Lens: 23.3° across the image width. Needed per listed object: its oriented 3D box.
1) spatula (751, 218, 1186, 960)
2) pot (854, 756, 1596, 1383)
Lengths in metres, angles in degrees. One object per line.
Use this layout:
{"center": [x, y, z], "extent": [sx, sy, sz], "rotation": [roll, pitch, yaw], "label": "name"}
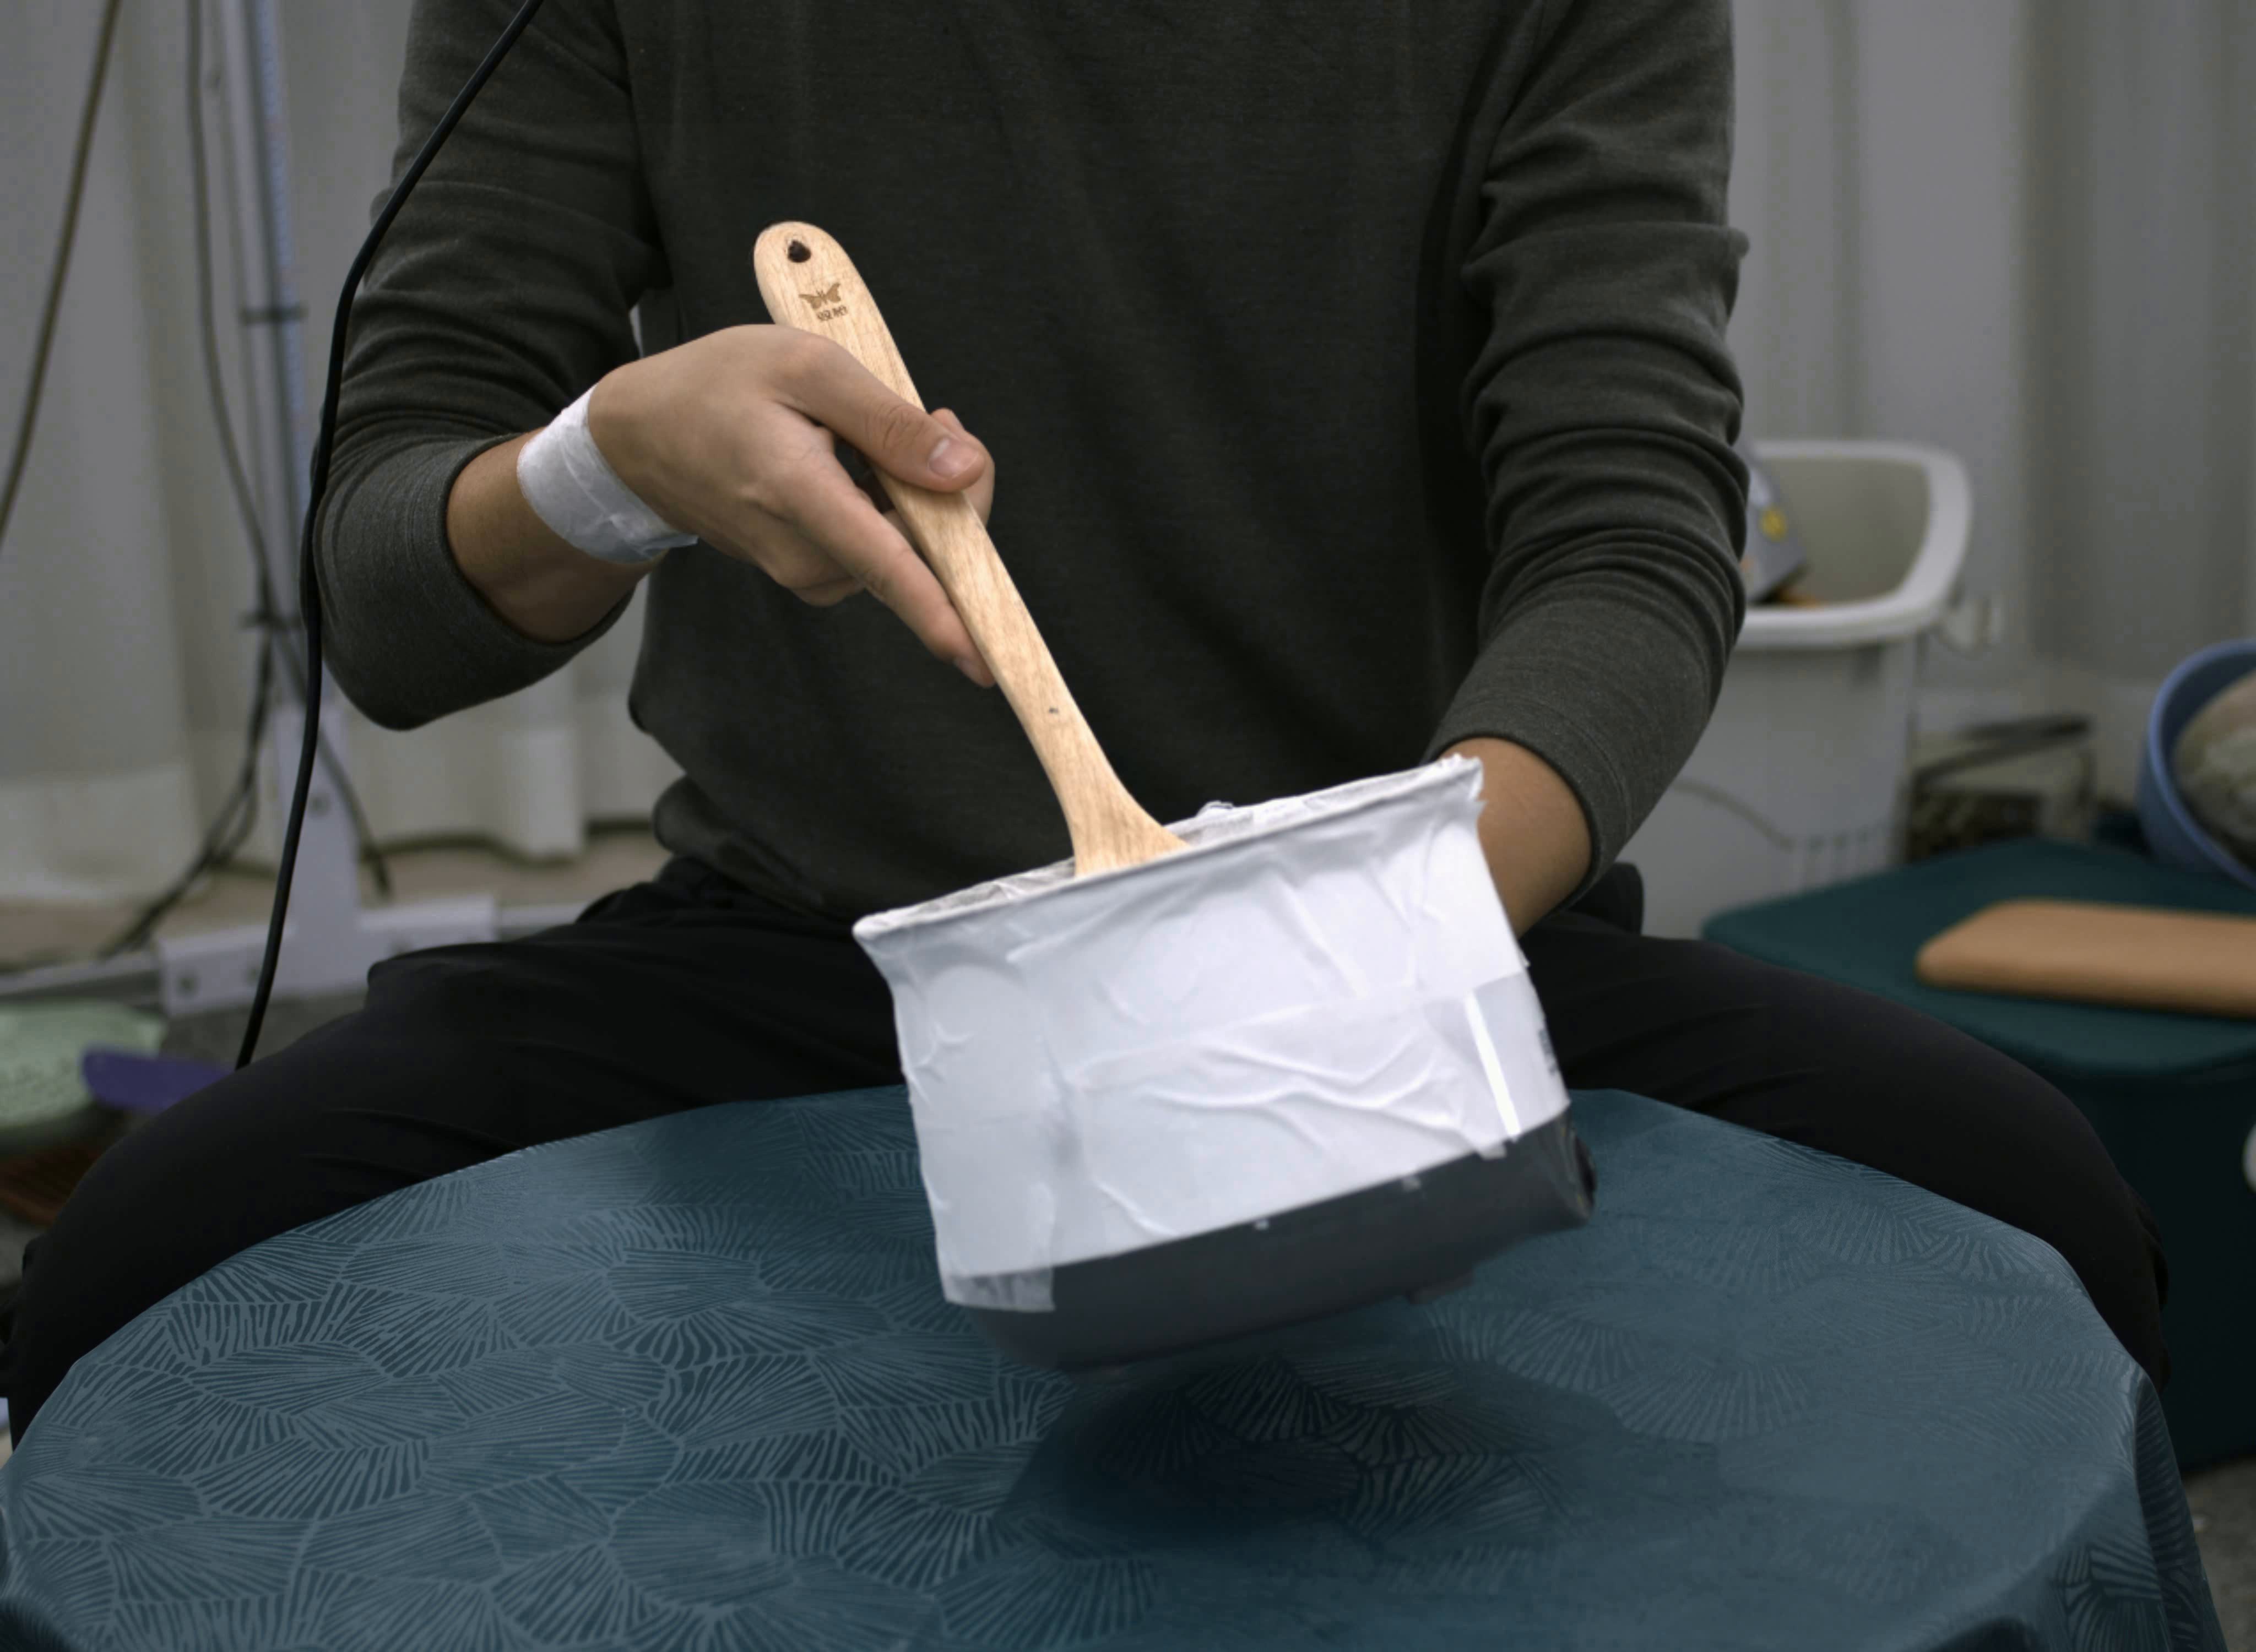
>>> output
{"center": [-0.041, -0.054, 1.609], "extent": [0.095, 0.018, 0.396], "rotation": [-17, 51, -14], "label": "spatula"}
{"center": [0.030, 0.064, 1.512], "extent": [0.178, 0.137, 0.234], "rotation": [-14, 1, 8], "label": "pot"}
